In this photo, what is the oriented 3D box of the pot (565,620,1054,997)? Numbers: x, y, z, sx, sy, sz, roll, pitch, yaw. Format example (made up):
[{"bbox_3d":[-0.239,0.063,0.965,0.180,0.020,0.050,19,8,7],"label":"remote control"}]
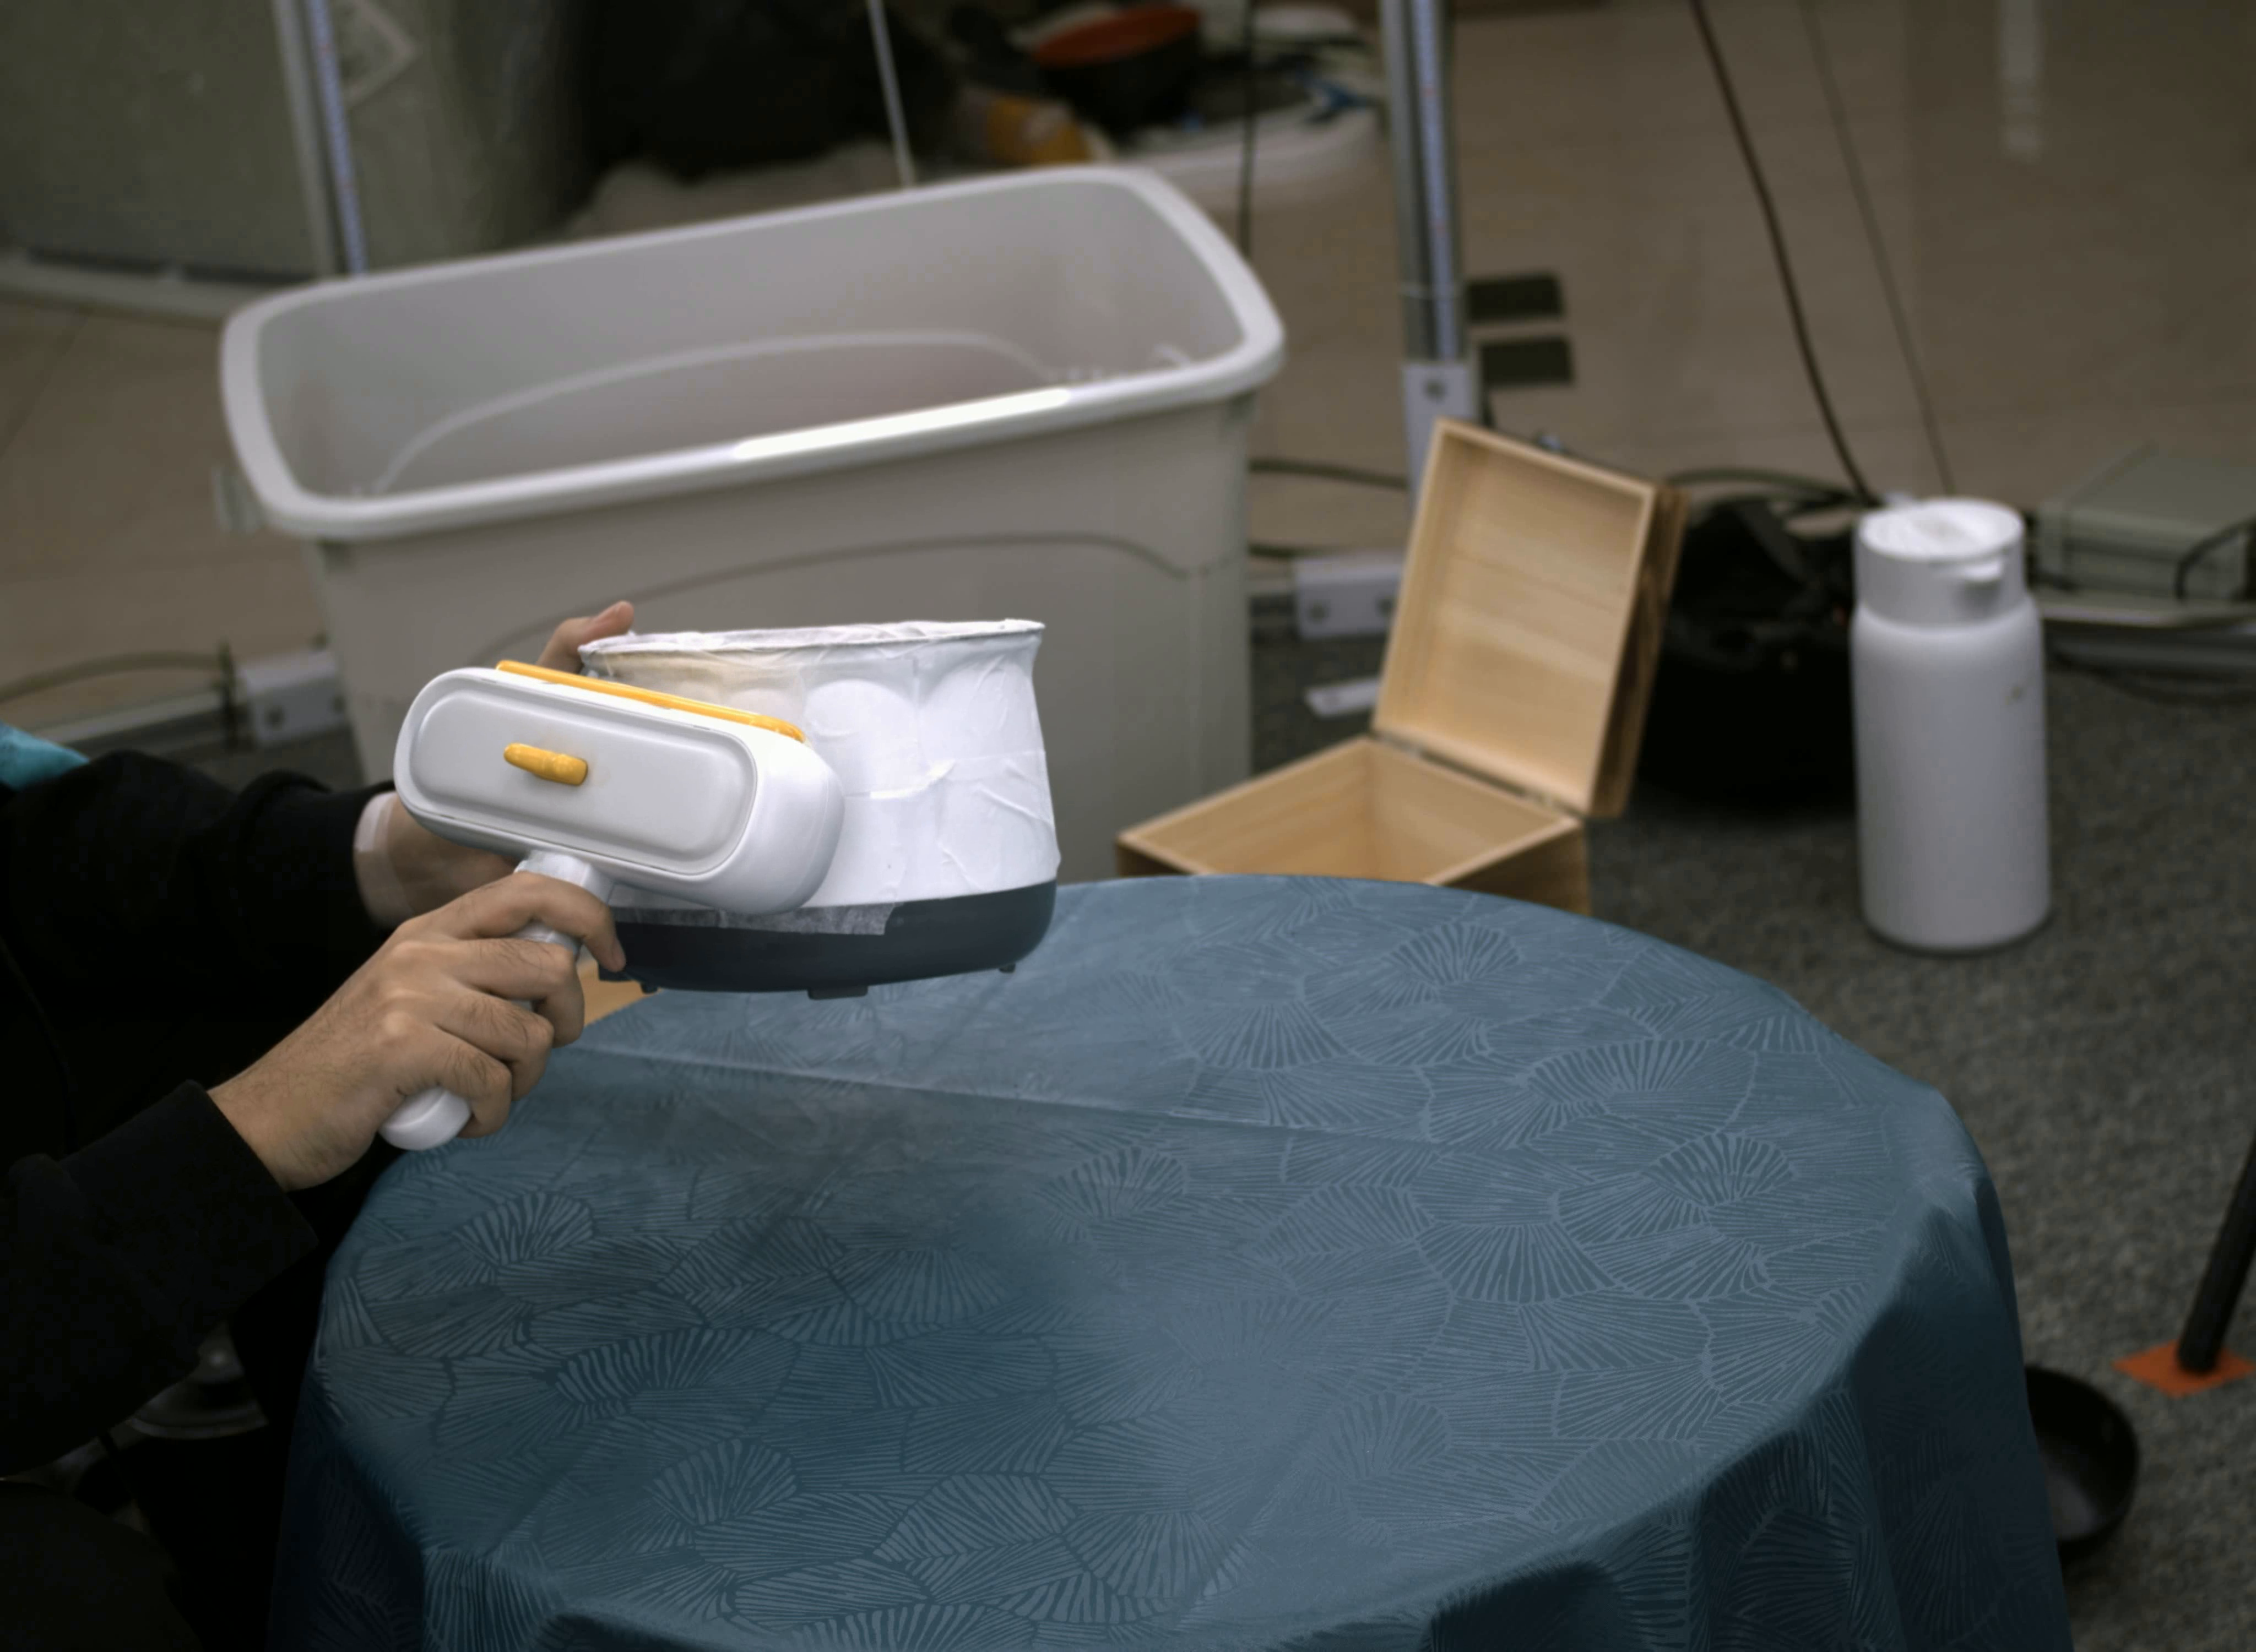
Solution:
[{"bbox_3d":[-0.138,-0.010,2.155,0.233,0.137,0.178,2,5,38],"label":"pot"}]

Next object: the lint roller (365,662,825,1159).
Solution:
[{"bbox_3d":[-0.215,0.035,2.026,0.192,0.075,0.191,11,75,32],"label":"lint roller"}]
